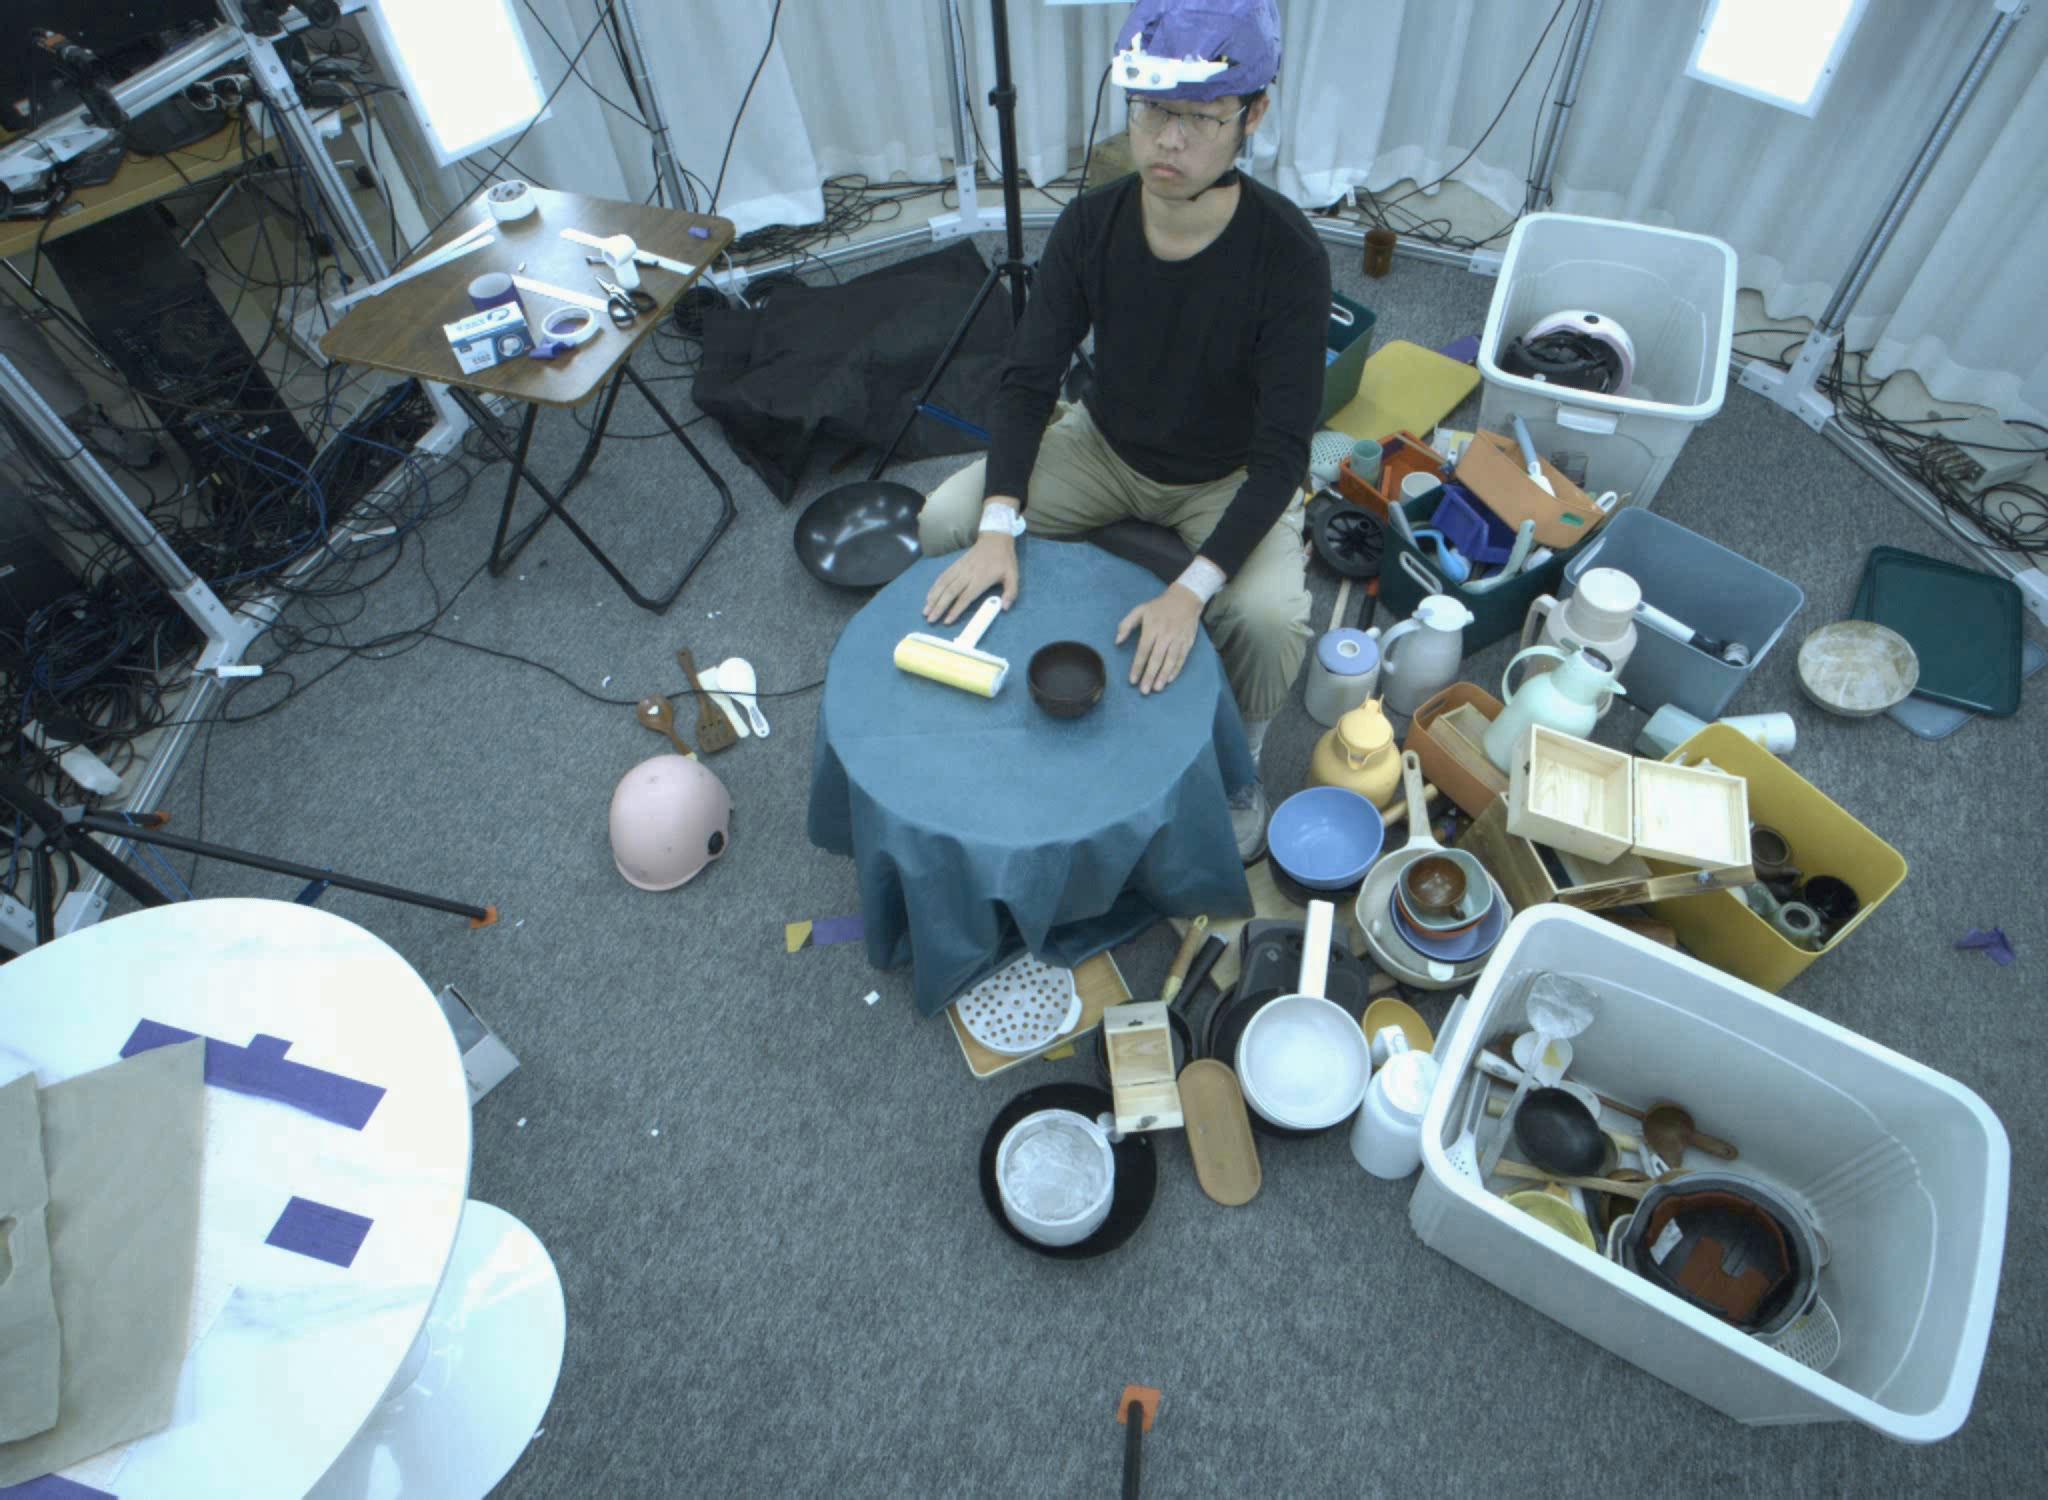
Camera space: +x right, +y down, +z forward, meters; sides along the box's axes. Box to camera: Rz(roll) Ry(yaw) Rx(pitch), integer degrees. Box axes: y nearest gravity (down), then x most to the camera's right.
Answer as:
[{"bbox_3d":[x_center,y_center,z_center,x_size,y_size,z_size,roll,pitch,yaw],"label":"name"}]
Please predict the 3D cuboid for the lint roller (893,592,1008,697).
[{"bbox_3d":[-0.089,-0.181,1.886,0.172,0.052,0.192,17,62,14],"label":"lint roller"}]

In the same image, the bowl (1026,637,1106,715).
[{"bbox_3d":[0.062,-0.100,1.810,0.118,0.070,0.117,-1,56,2],"label":"bowl"}]
